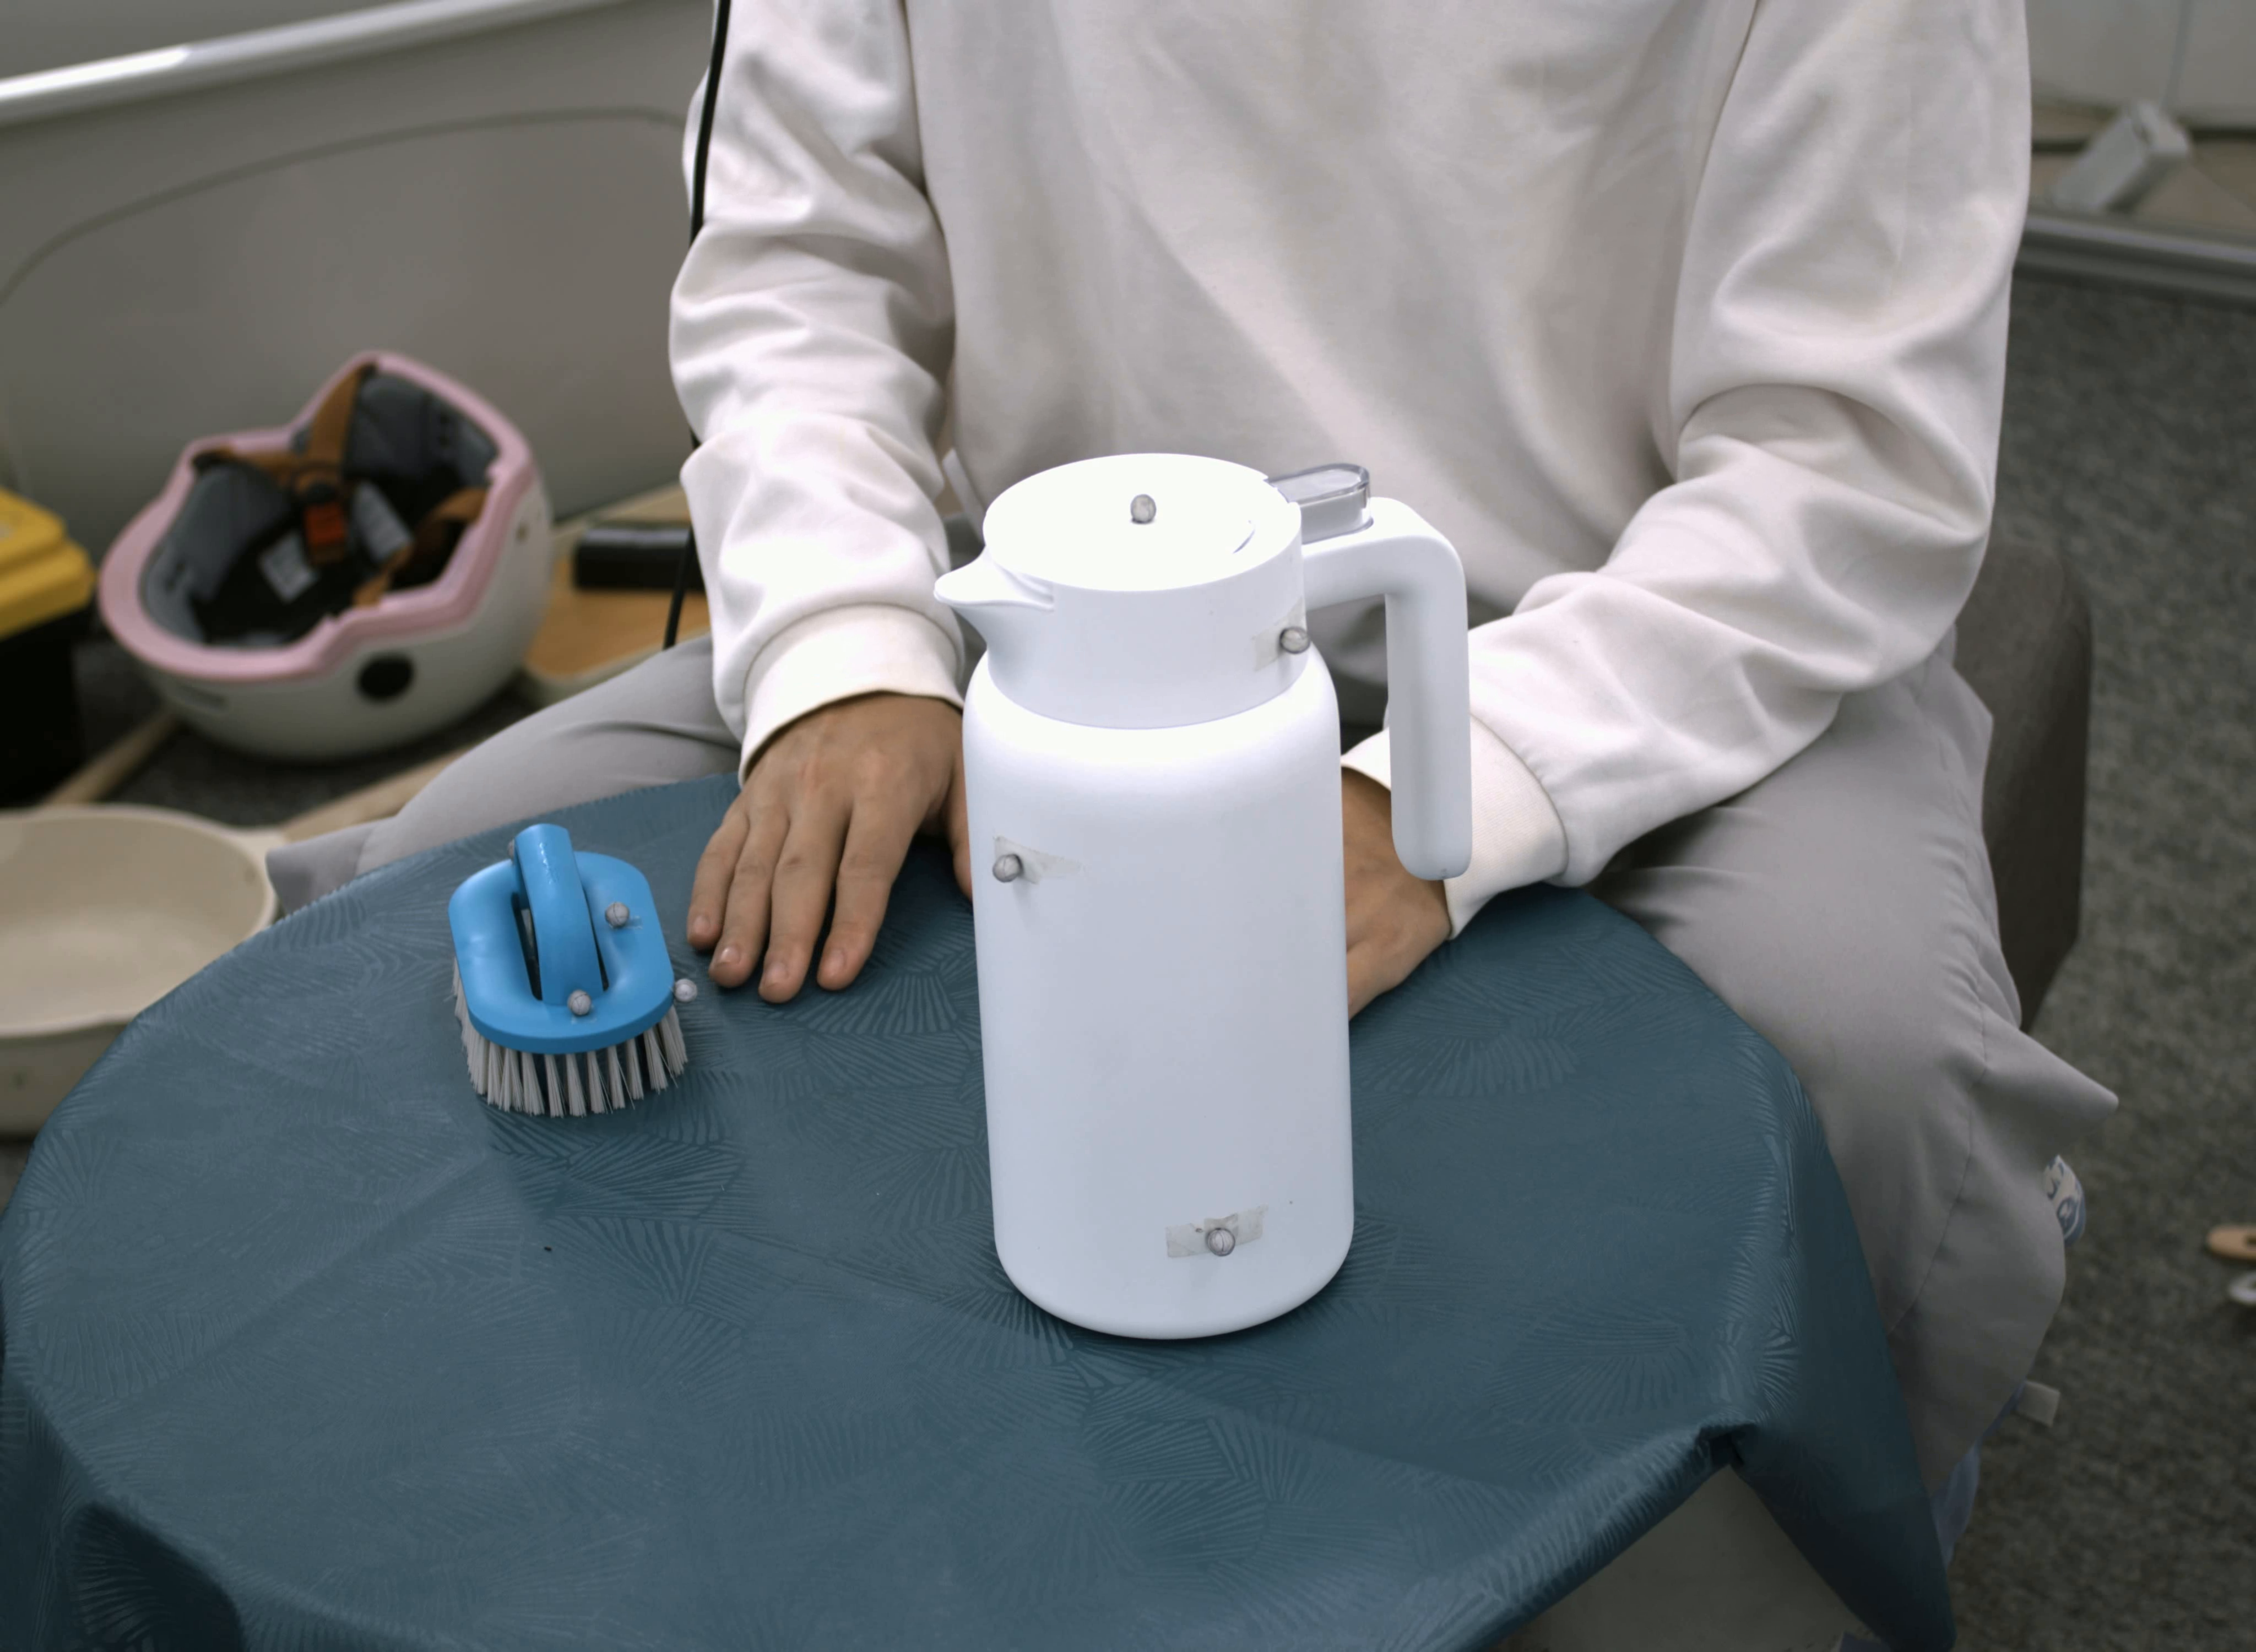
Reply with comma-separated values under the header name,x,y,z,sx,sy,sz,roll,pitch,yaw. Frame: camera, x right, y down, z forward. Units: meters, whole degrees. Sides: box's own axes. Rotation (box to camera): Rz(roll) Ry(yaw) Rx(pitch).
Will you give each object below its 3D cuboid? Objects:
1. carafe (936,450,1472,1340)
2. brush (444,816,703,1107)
name,x,y,z,sx,sy,sz,roll,pitch,yaw
carafe,0.026,0.018,1.777,0.173,0.266,0.124,-13,26,-21
brush,-0.198,0.039,1.970,0.084,0.063,0.143,-11,27,-5
